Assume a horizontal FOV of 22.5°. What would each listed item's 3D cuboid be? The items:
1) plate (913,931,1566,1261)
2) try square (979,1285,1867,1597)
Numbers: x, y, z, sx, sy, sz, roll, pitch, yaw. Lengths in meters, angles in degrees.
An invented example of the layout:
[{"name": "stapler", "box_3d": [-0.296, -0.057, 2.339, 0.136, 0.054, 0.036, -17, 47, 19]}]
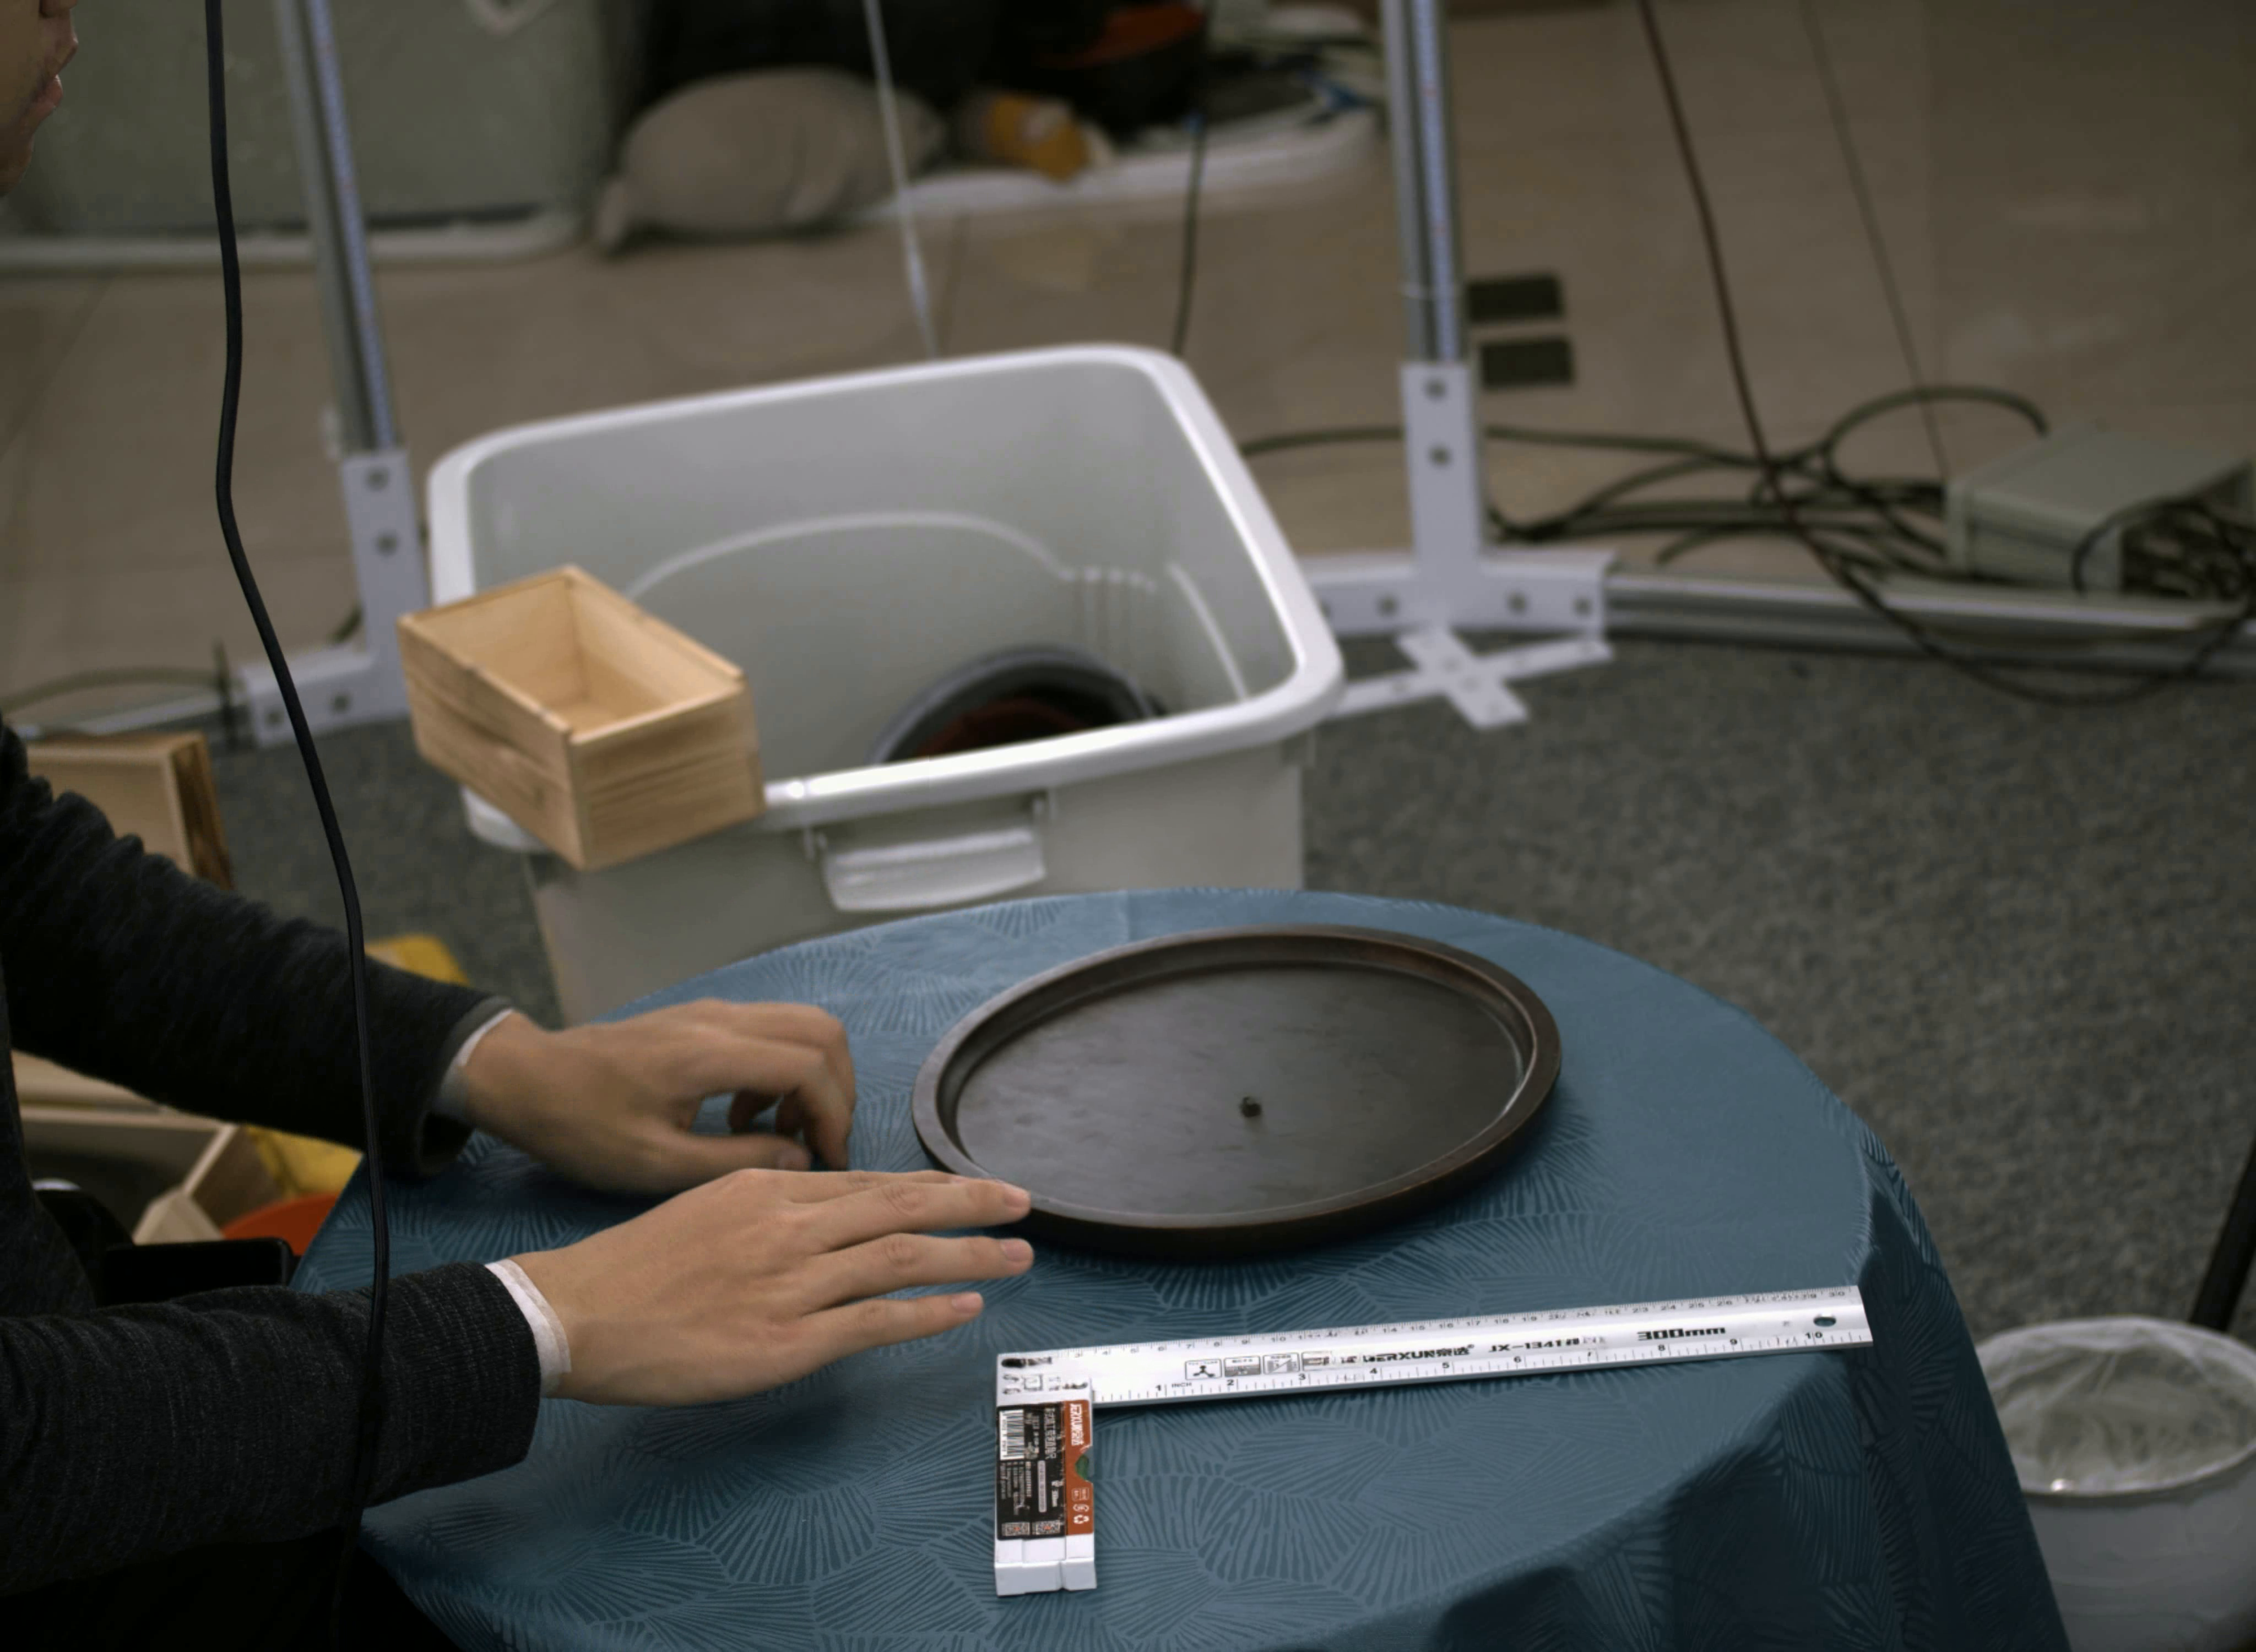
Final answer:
[{"name": "plate", "box_3d": [0.043, 0.102, 2.189, 0.254, 0.029, 0.251, -4, 25, 2]}, {"name": "try square", "box_3d": [0.104, 0.209, 1.964, 0.312, 0.016, 0.150, -5, 25, 2]}]
